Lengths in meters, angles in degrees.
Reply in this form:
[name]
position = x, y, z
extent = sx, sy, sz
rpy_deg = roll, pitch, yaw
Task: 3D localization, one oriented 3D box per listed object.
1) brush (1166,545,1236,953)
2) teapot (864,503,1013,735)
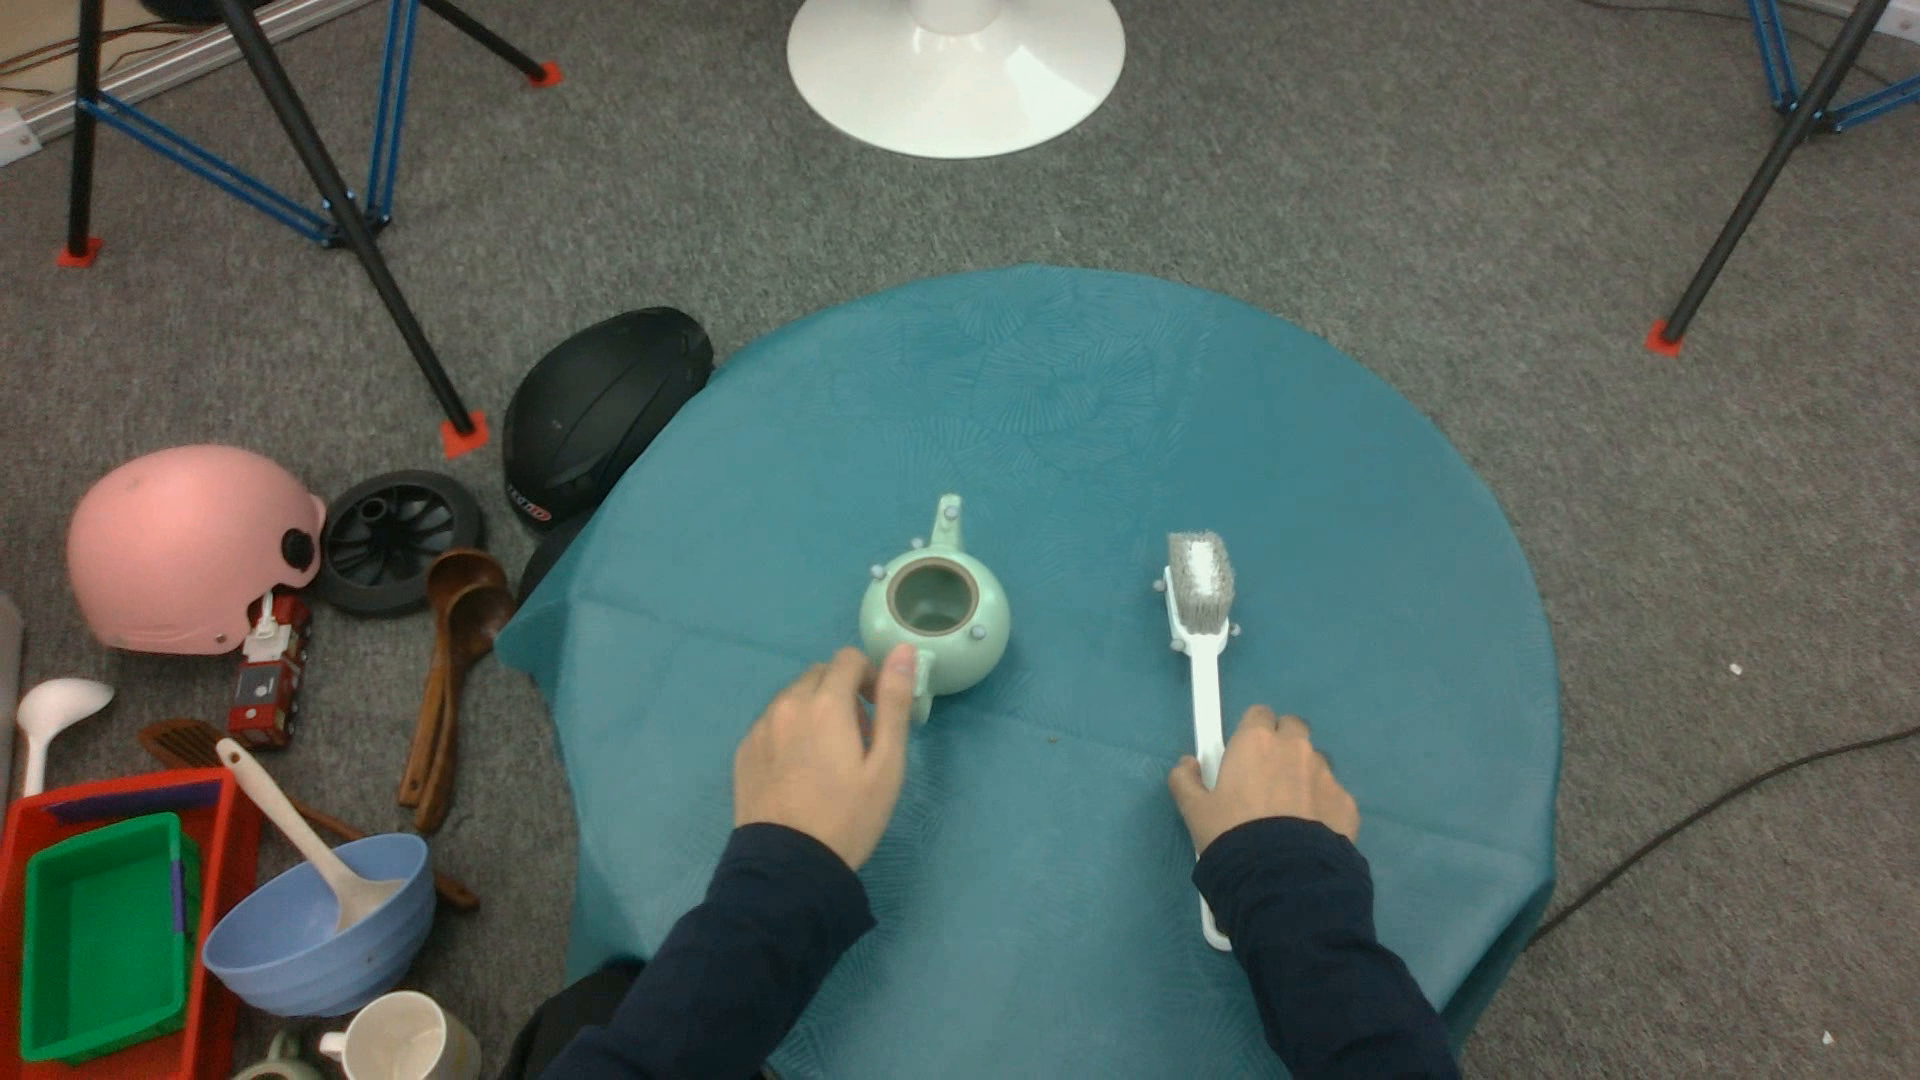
[brush]
position = 0.140, 0.108, 0.785
extent = 0.034, 0.050, 0.245
rpy_deg = 7, 55, -3
[teapot]
position = -0.013, 0.053, 0.813
extent = 0.088, 0.074, 0.144
rpy_deg = 9, 55, 6
